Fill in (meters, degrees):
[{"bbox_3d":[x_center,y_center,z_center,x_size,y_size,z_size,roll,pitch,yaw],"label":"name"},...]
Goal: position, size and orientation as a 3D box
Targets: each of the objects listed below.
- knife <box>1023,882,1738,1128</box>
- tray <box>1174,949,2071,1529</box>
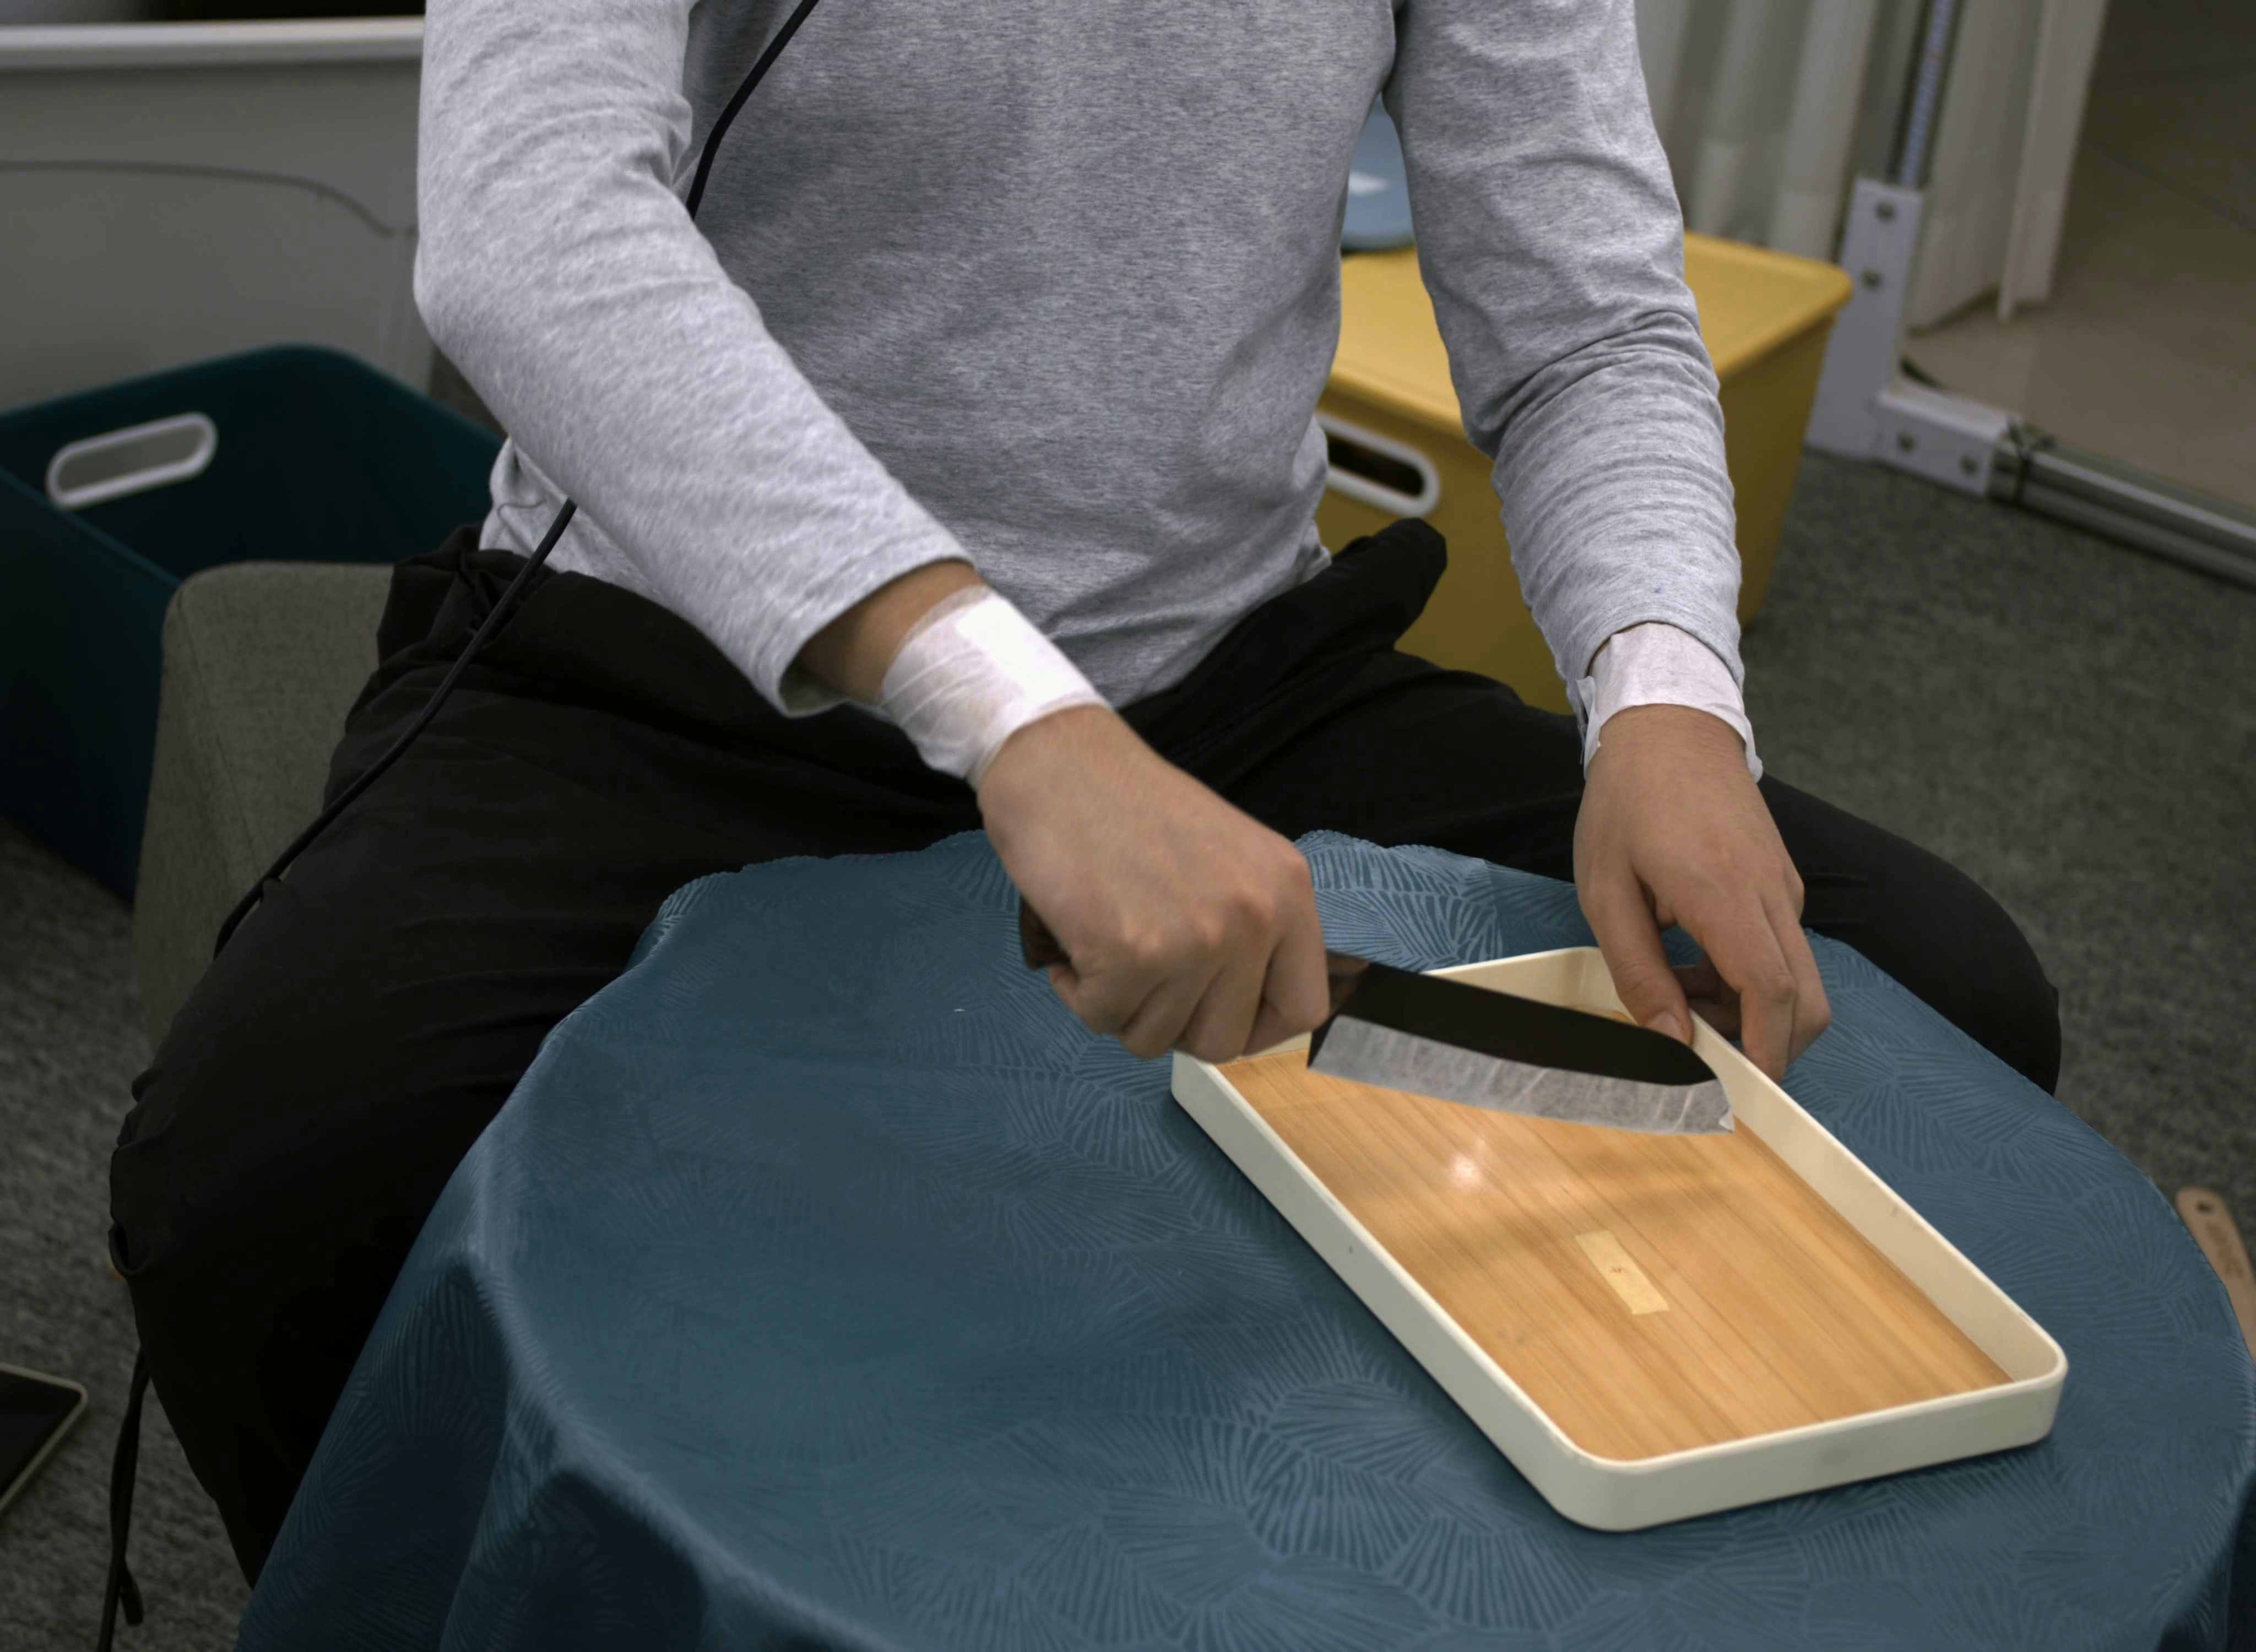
[{"bbox_3d":[0.088,0.063,1.768,0.287,0.050,0.020,17,21,-27],"label":"knife"},{"bbox_3d":[0.160,0.132,1.793,0.190,0.027,0.303,-8,30,-25],"label":"tray"}]
